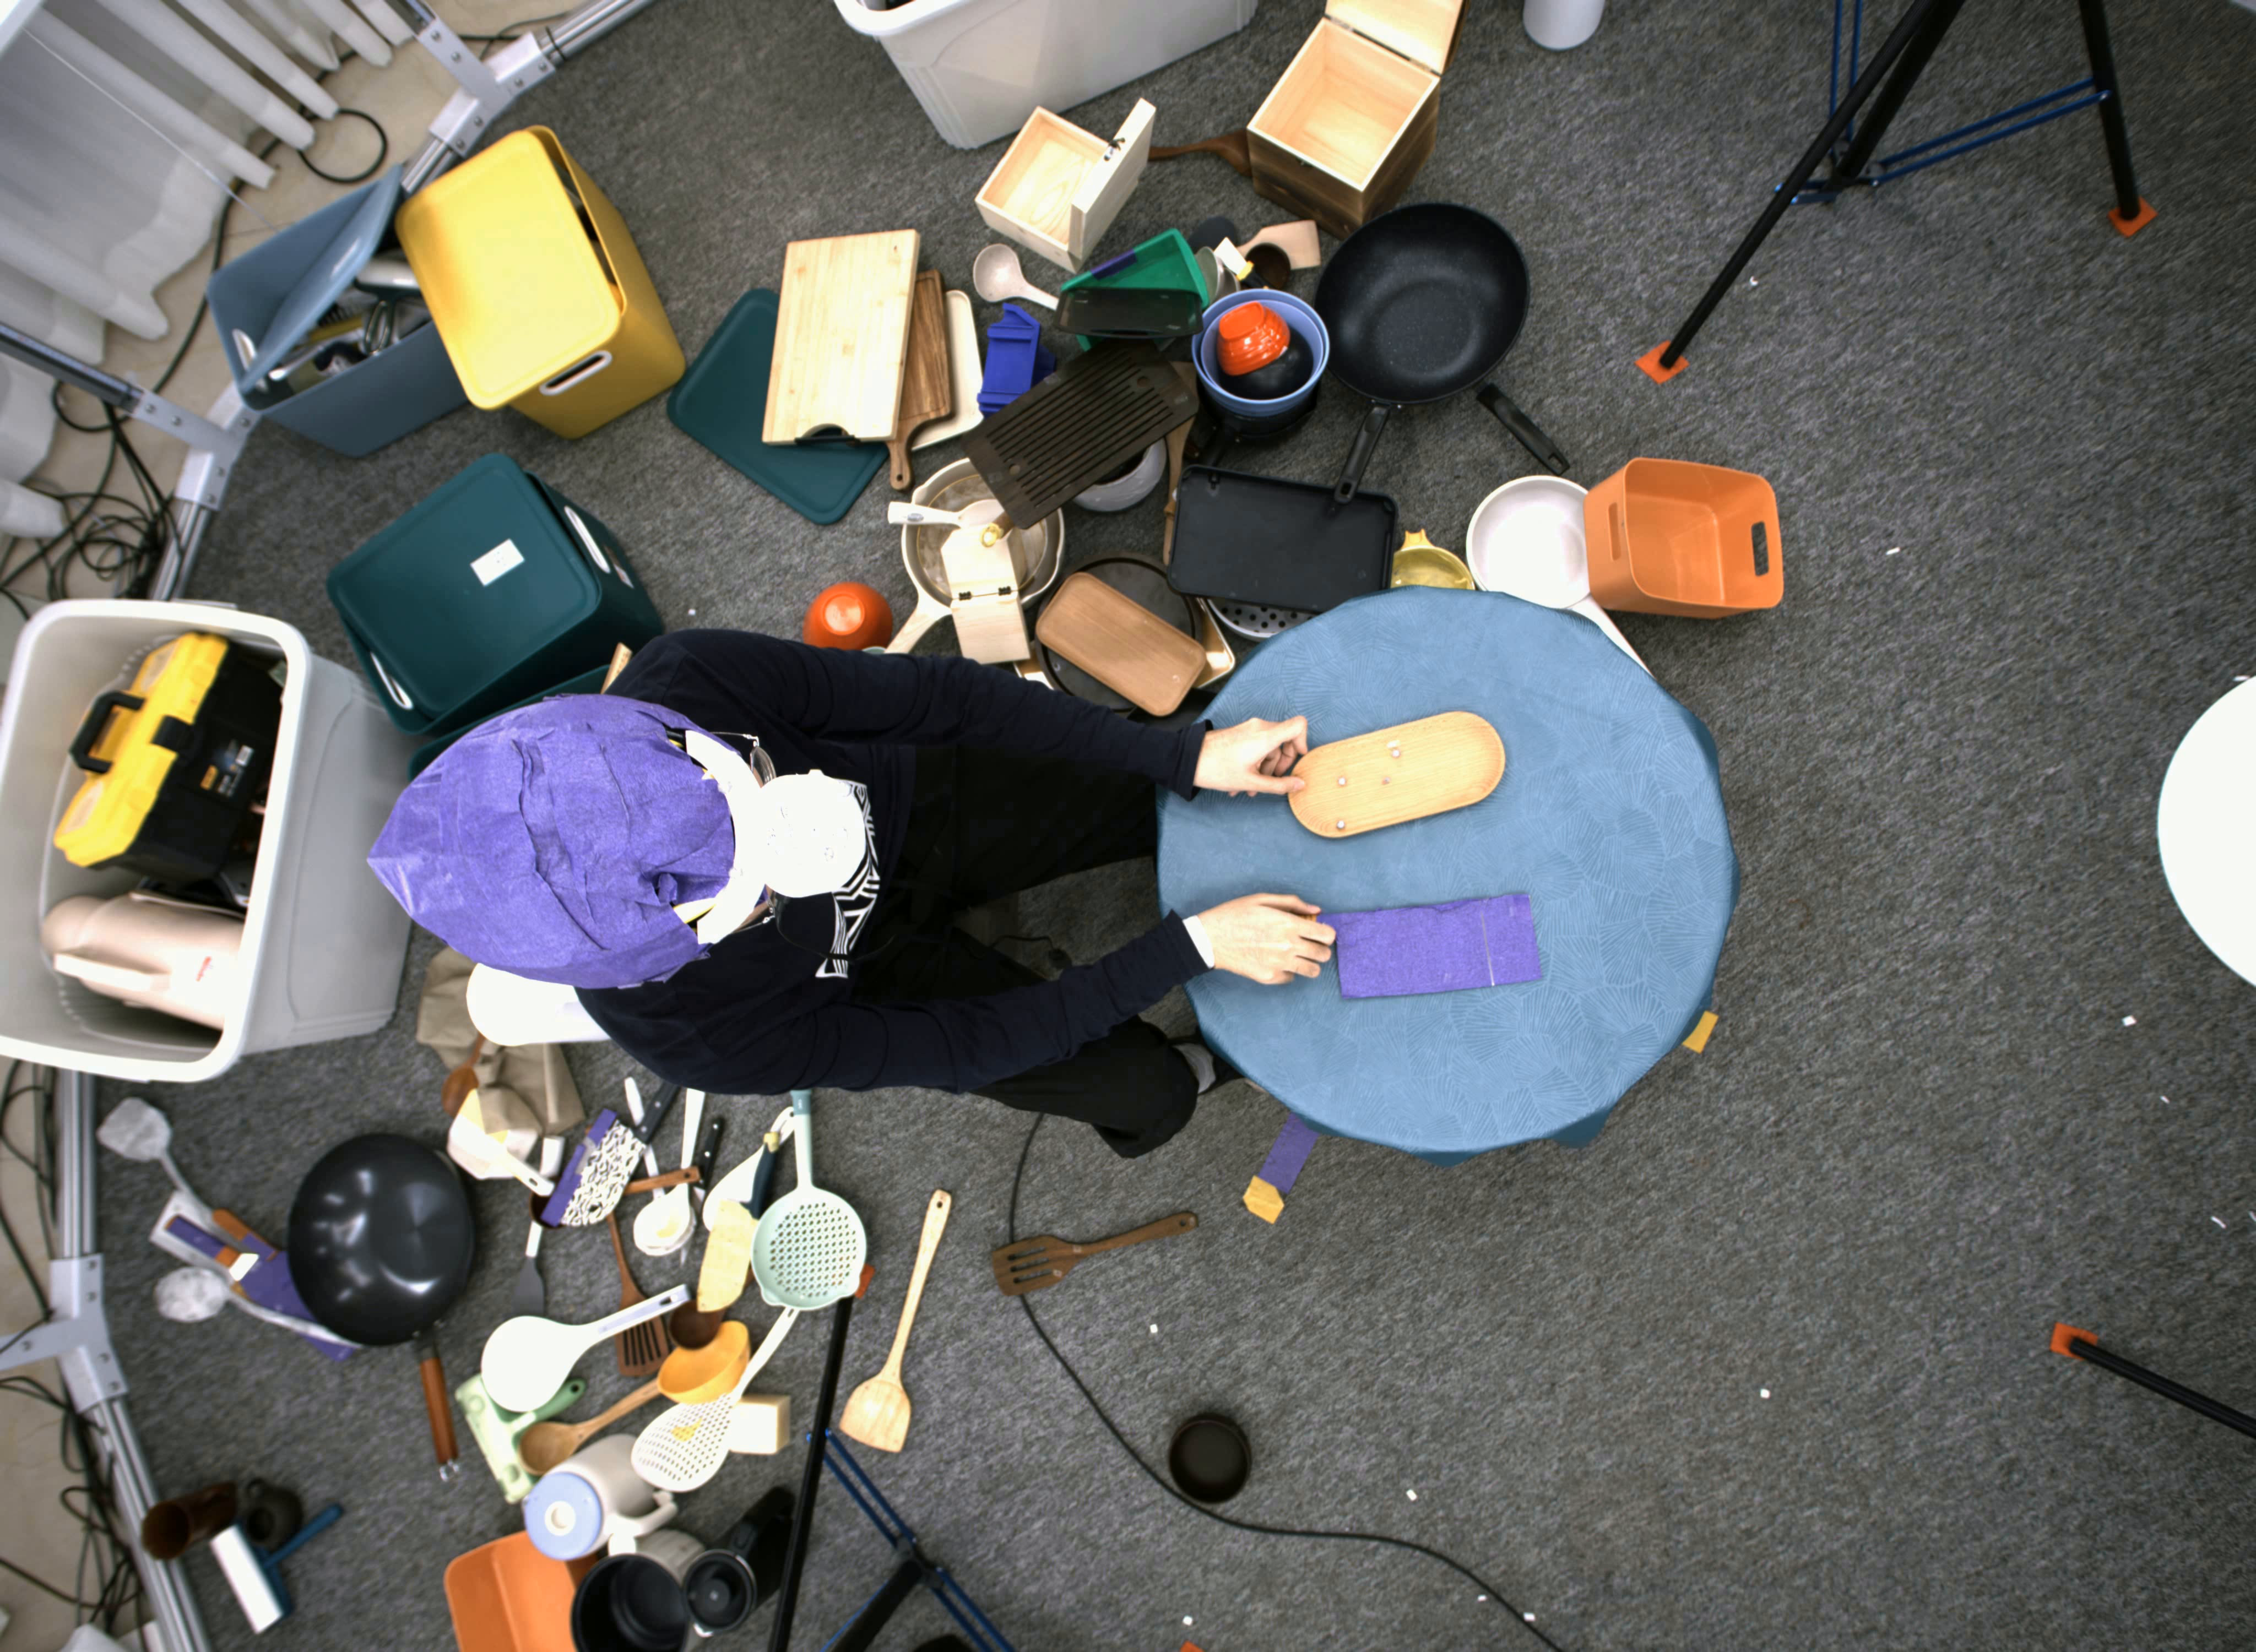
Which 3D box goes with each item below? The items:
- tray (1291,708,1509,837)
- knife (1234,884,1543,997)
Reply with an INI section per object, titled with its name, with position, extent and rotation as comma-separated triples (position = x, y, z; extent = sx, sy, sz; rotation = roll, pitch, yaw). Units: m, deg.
[tray]
position = 0.287, -0.057, 1.456
extent = 0.232, 0.020, 0.101
rotation = -16, 85, 7
[knife]
position = 0.271, 0.127, 1.443
extent = 0.317, 0.032, 0.103
rotation = -7, 85, 10
